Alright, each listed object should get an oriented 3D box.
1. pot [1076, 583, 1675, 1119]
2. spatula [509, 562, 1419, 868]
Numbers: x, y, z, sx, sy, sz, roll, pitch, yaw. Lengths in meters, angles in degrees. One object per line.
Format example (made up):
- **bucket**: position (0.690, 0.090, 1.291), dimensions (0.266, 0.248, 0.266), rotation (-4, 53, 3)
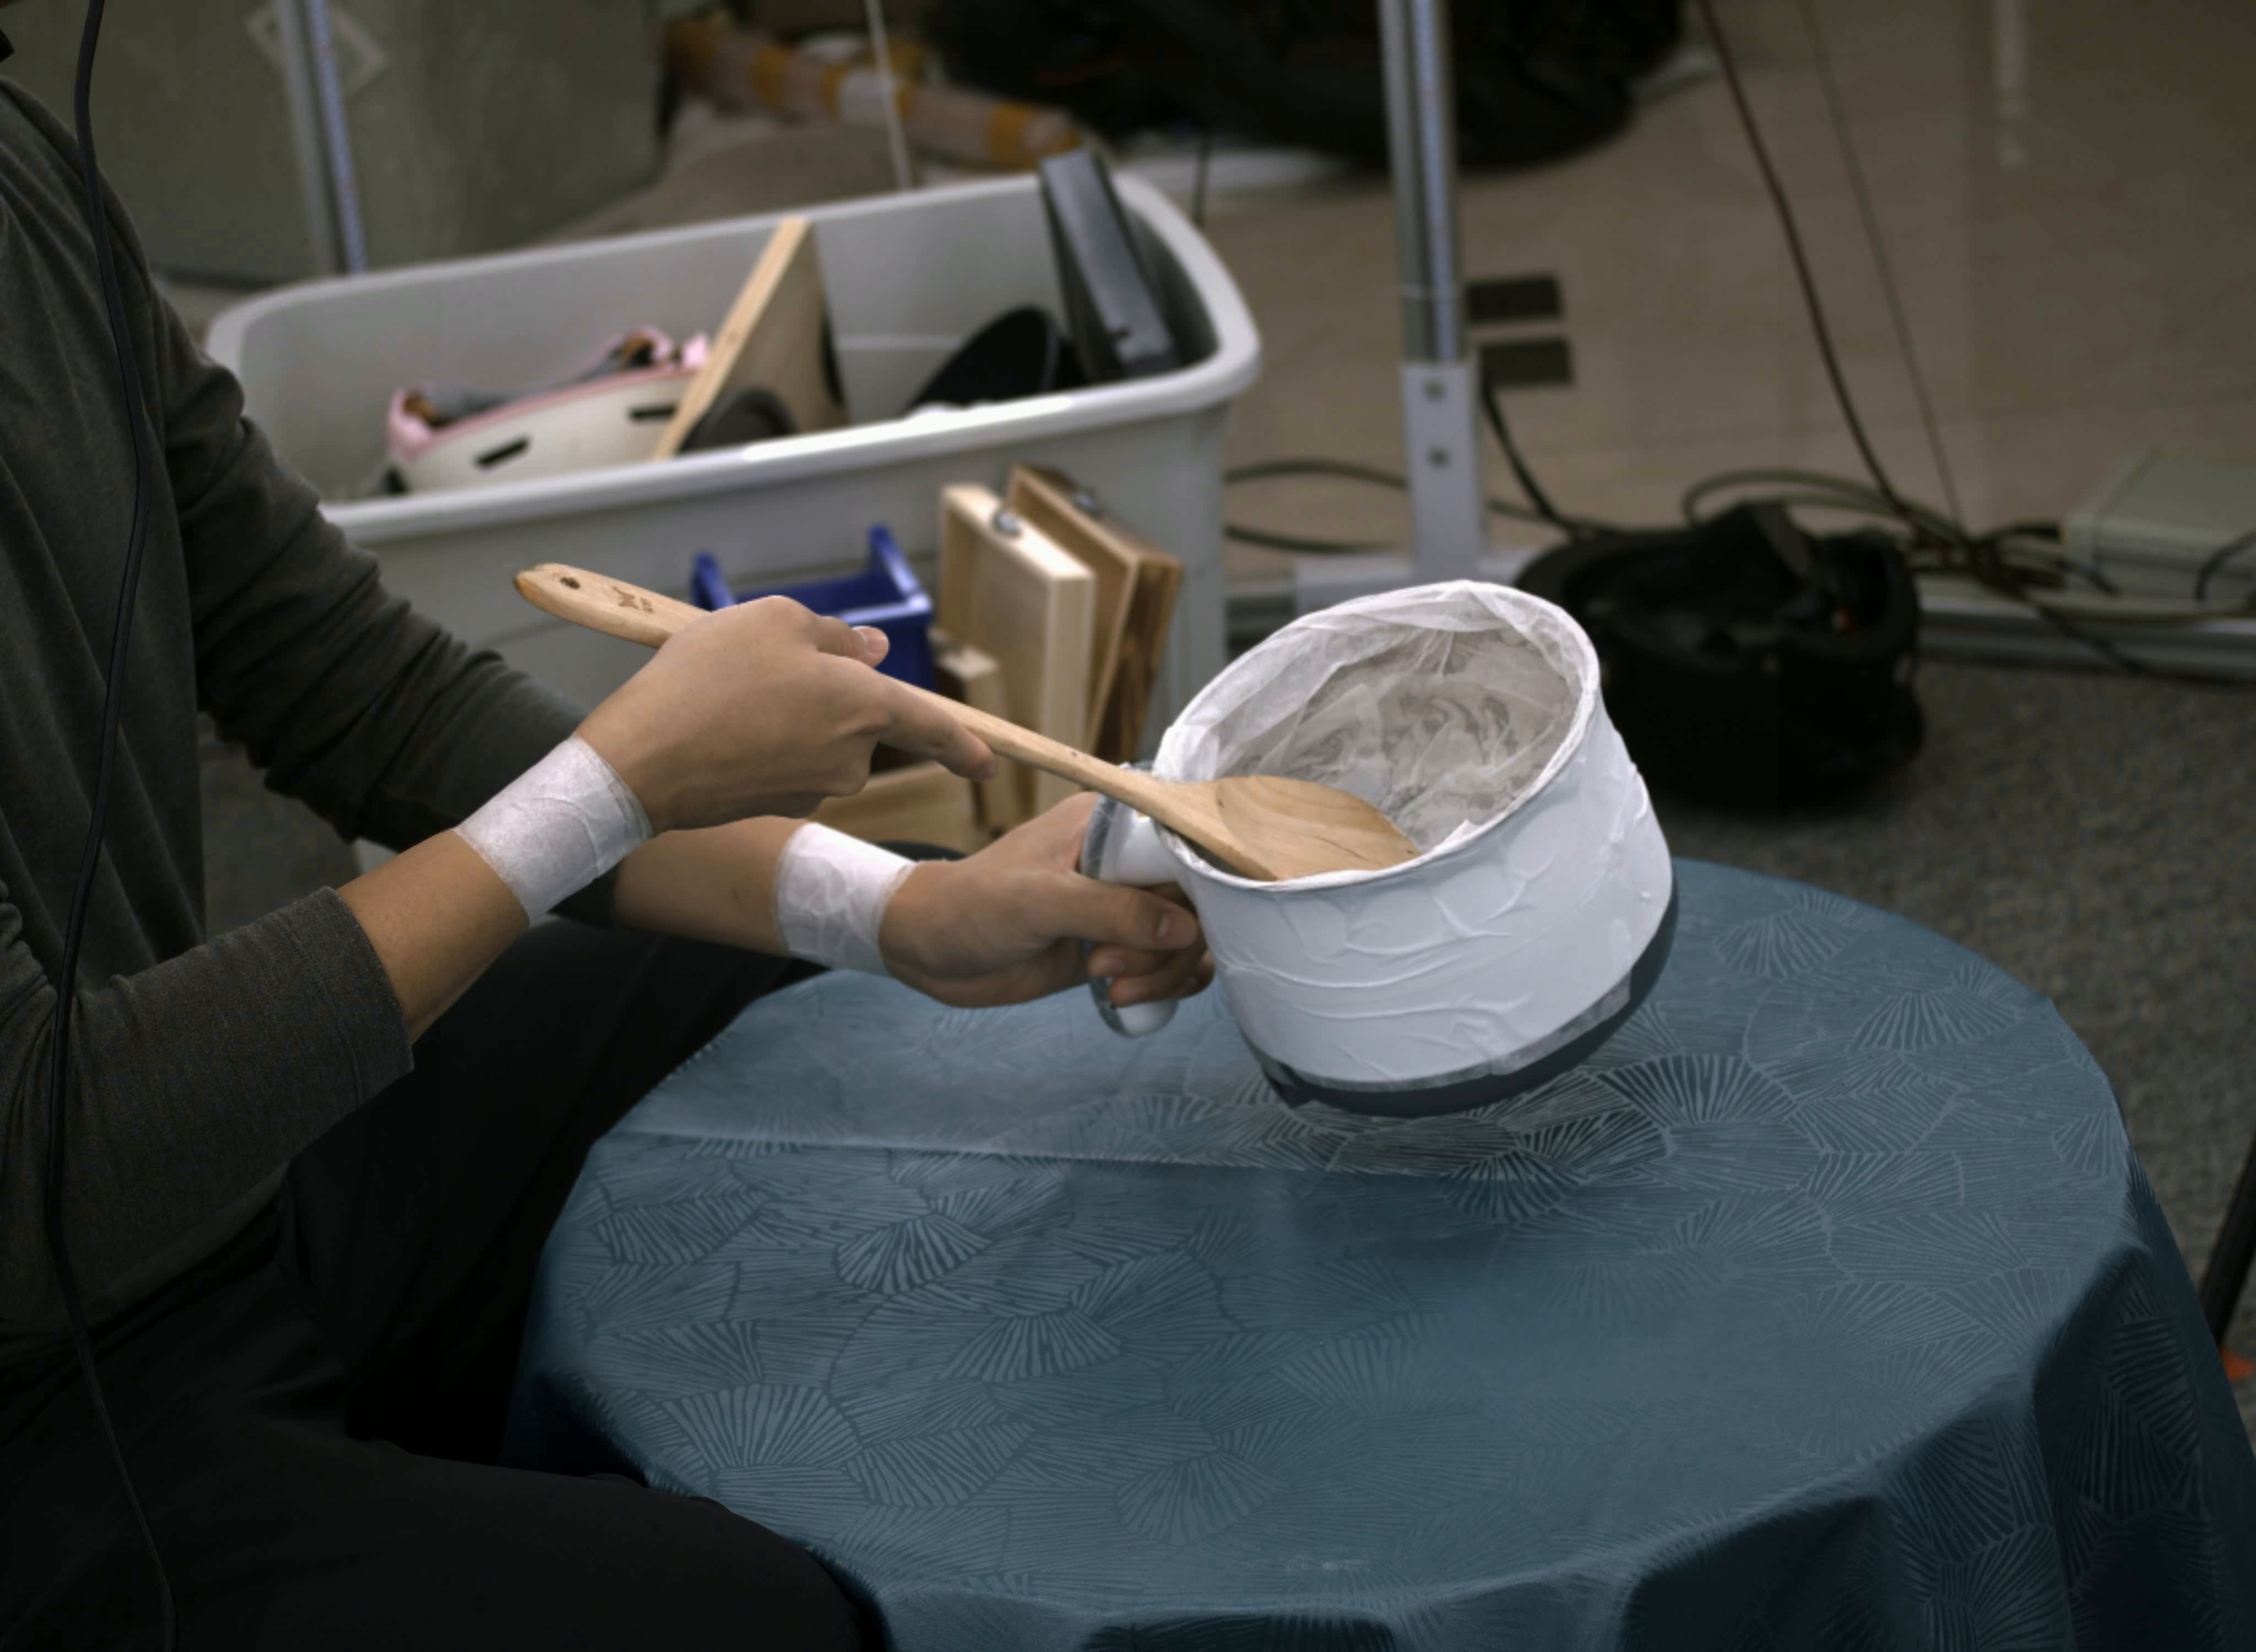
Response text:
- **pot**: position (0.085, 0.018, 2.147), dimensions (0.234, 0.139, 0.175), rotation (-11, 37, 18)
- **spatula**: position (-0.049, -0.031, 2.059), dimensions (0.392, 0.019, 0.094), rotation (19, 25, -28)
